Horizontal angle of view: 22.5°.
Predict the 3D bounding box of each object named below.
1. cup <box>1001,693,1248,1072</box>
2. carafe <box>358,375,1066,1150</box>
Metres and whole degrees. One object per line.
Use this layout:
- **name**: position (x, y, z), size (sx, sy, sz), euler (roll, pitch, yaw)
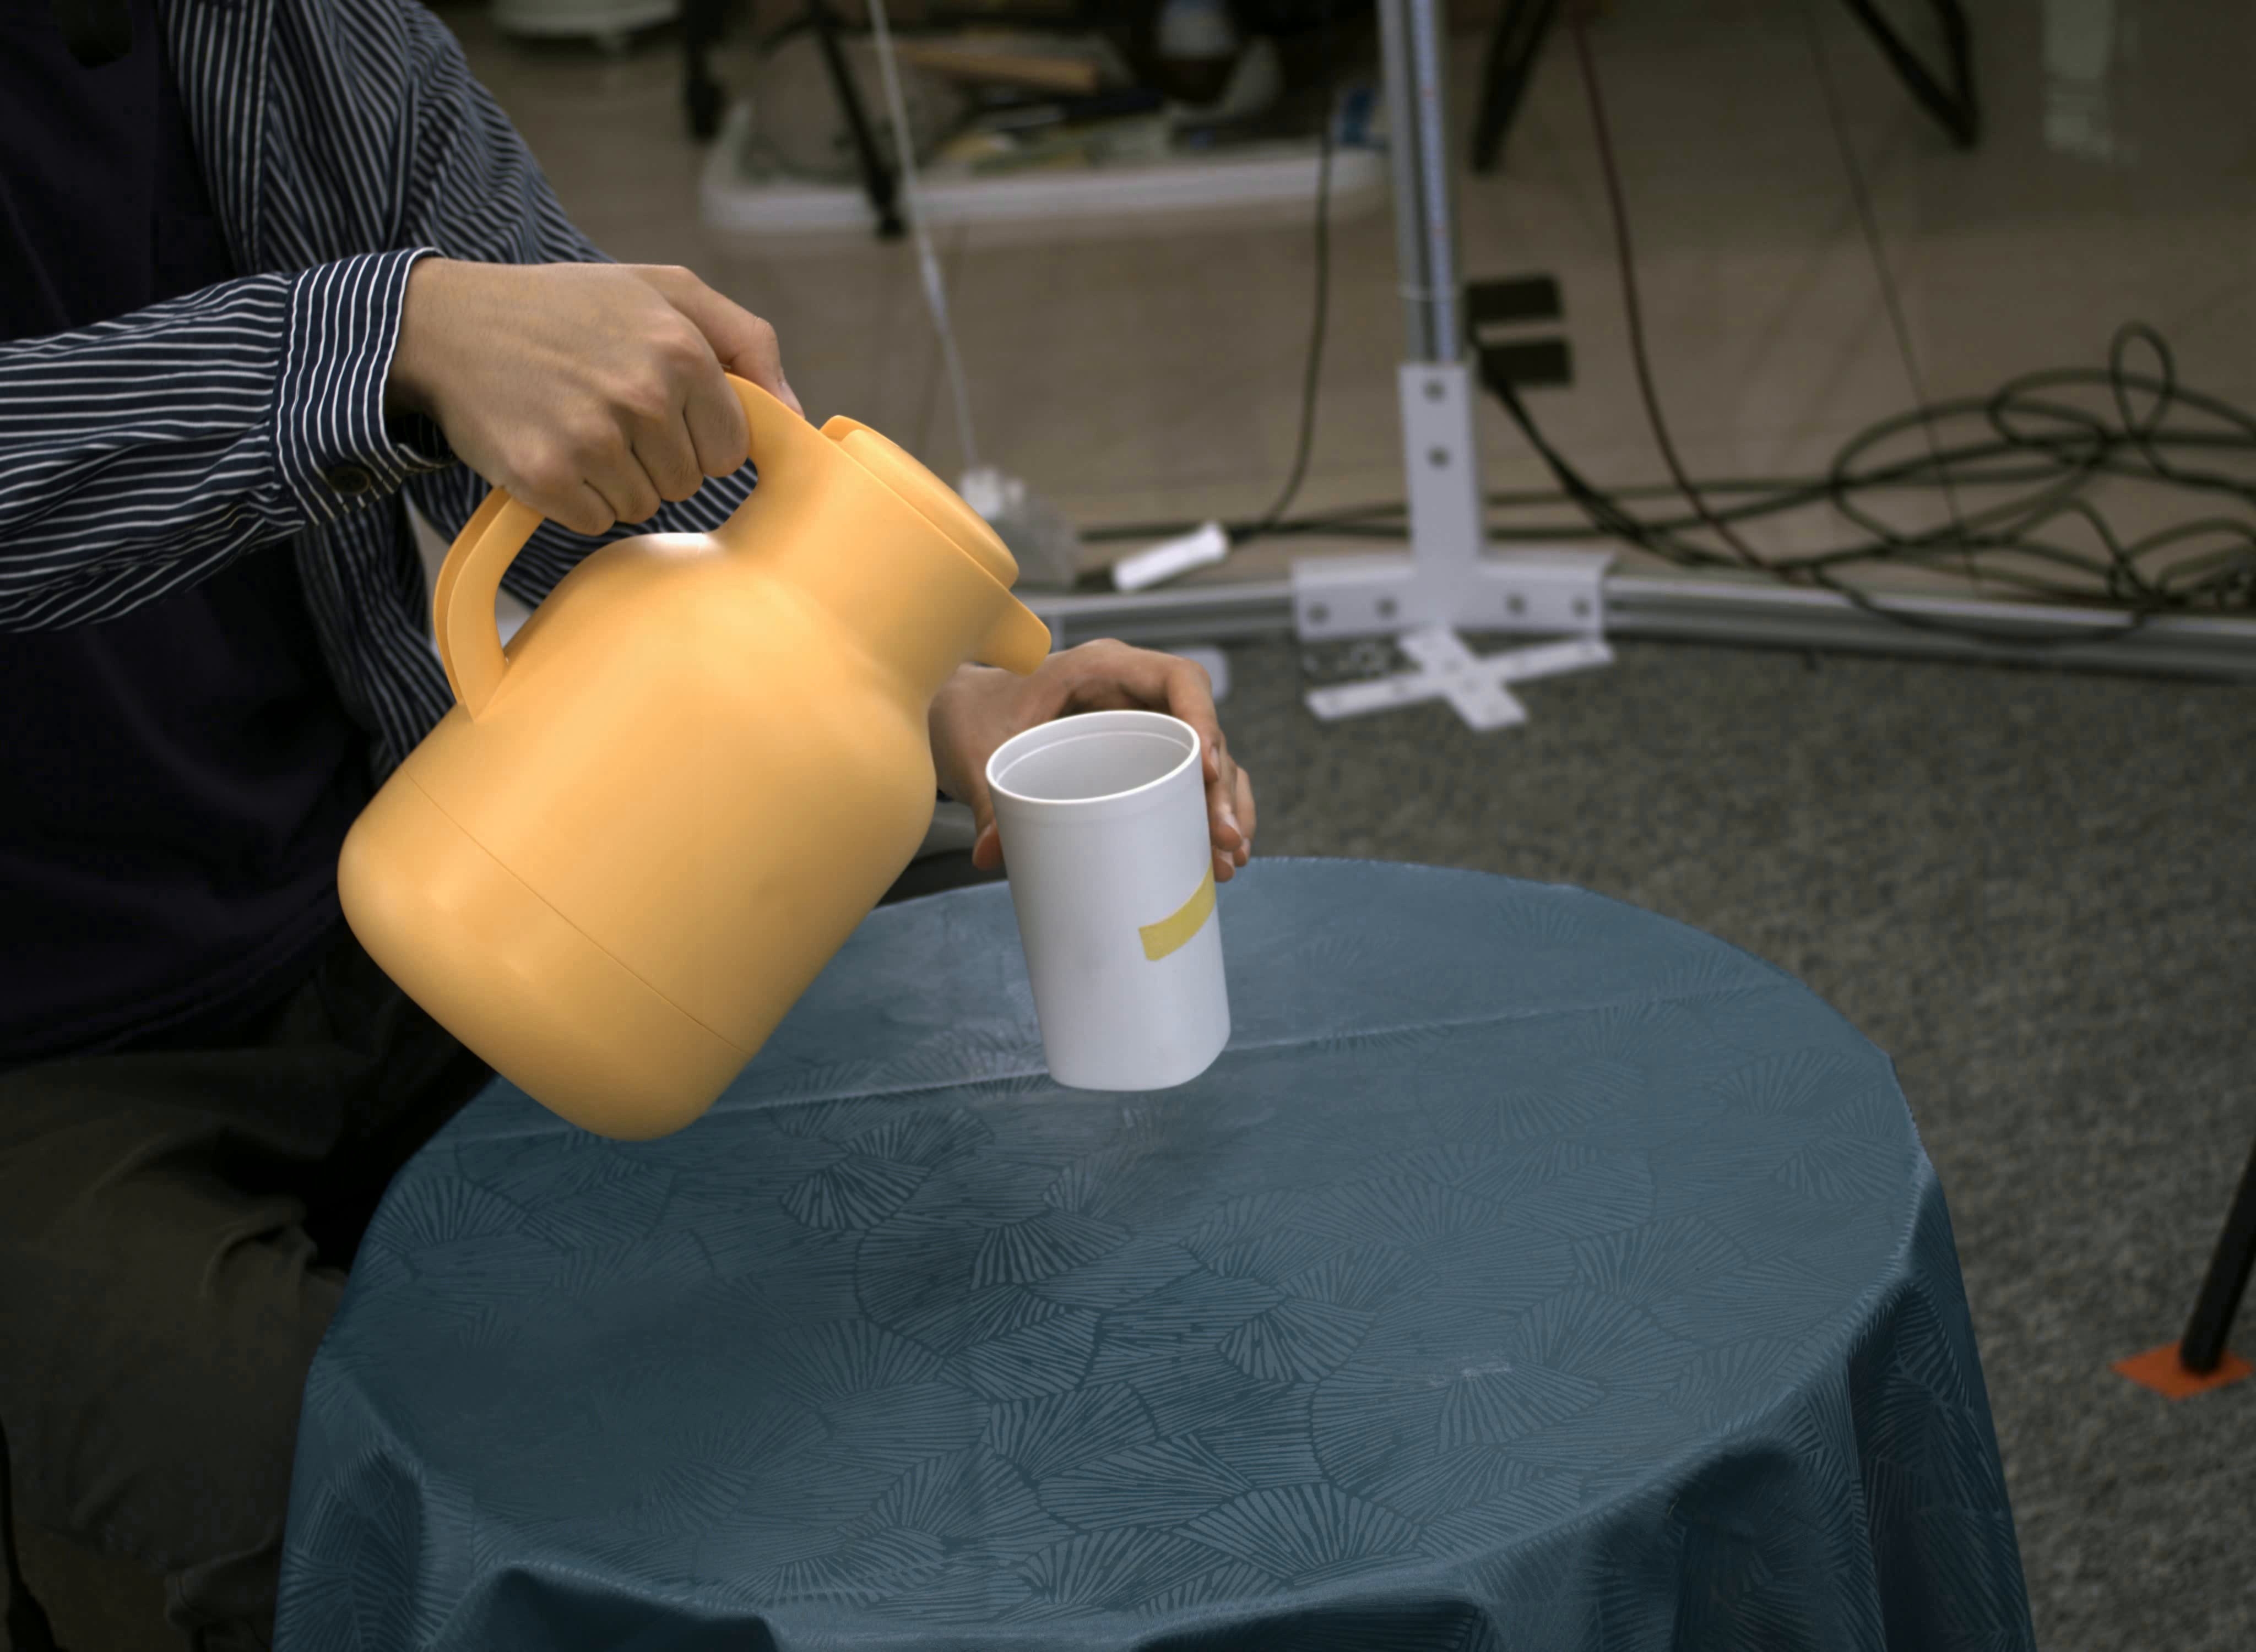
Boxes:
- **cup**: position (0.002, 0.023, 2.131), size (0.081, 0.127, 0.080), euler (-8, 25, 4)
- **carafe**: position (-0.159, -0.032, 2.028), size (0.260, 0.204, 0.162), euler (-50, 27, 0)
